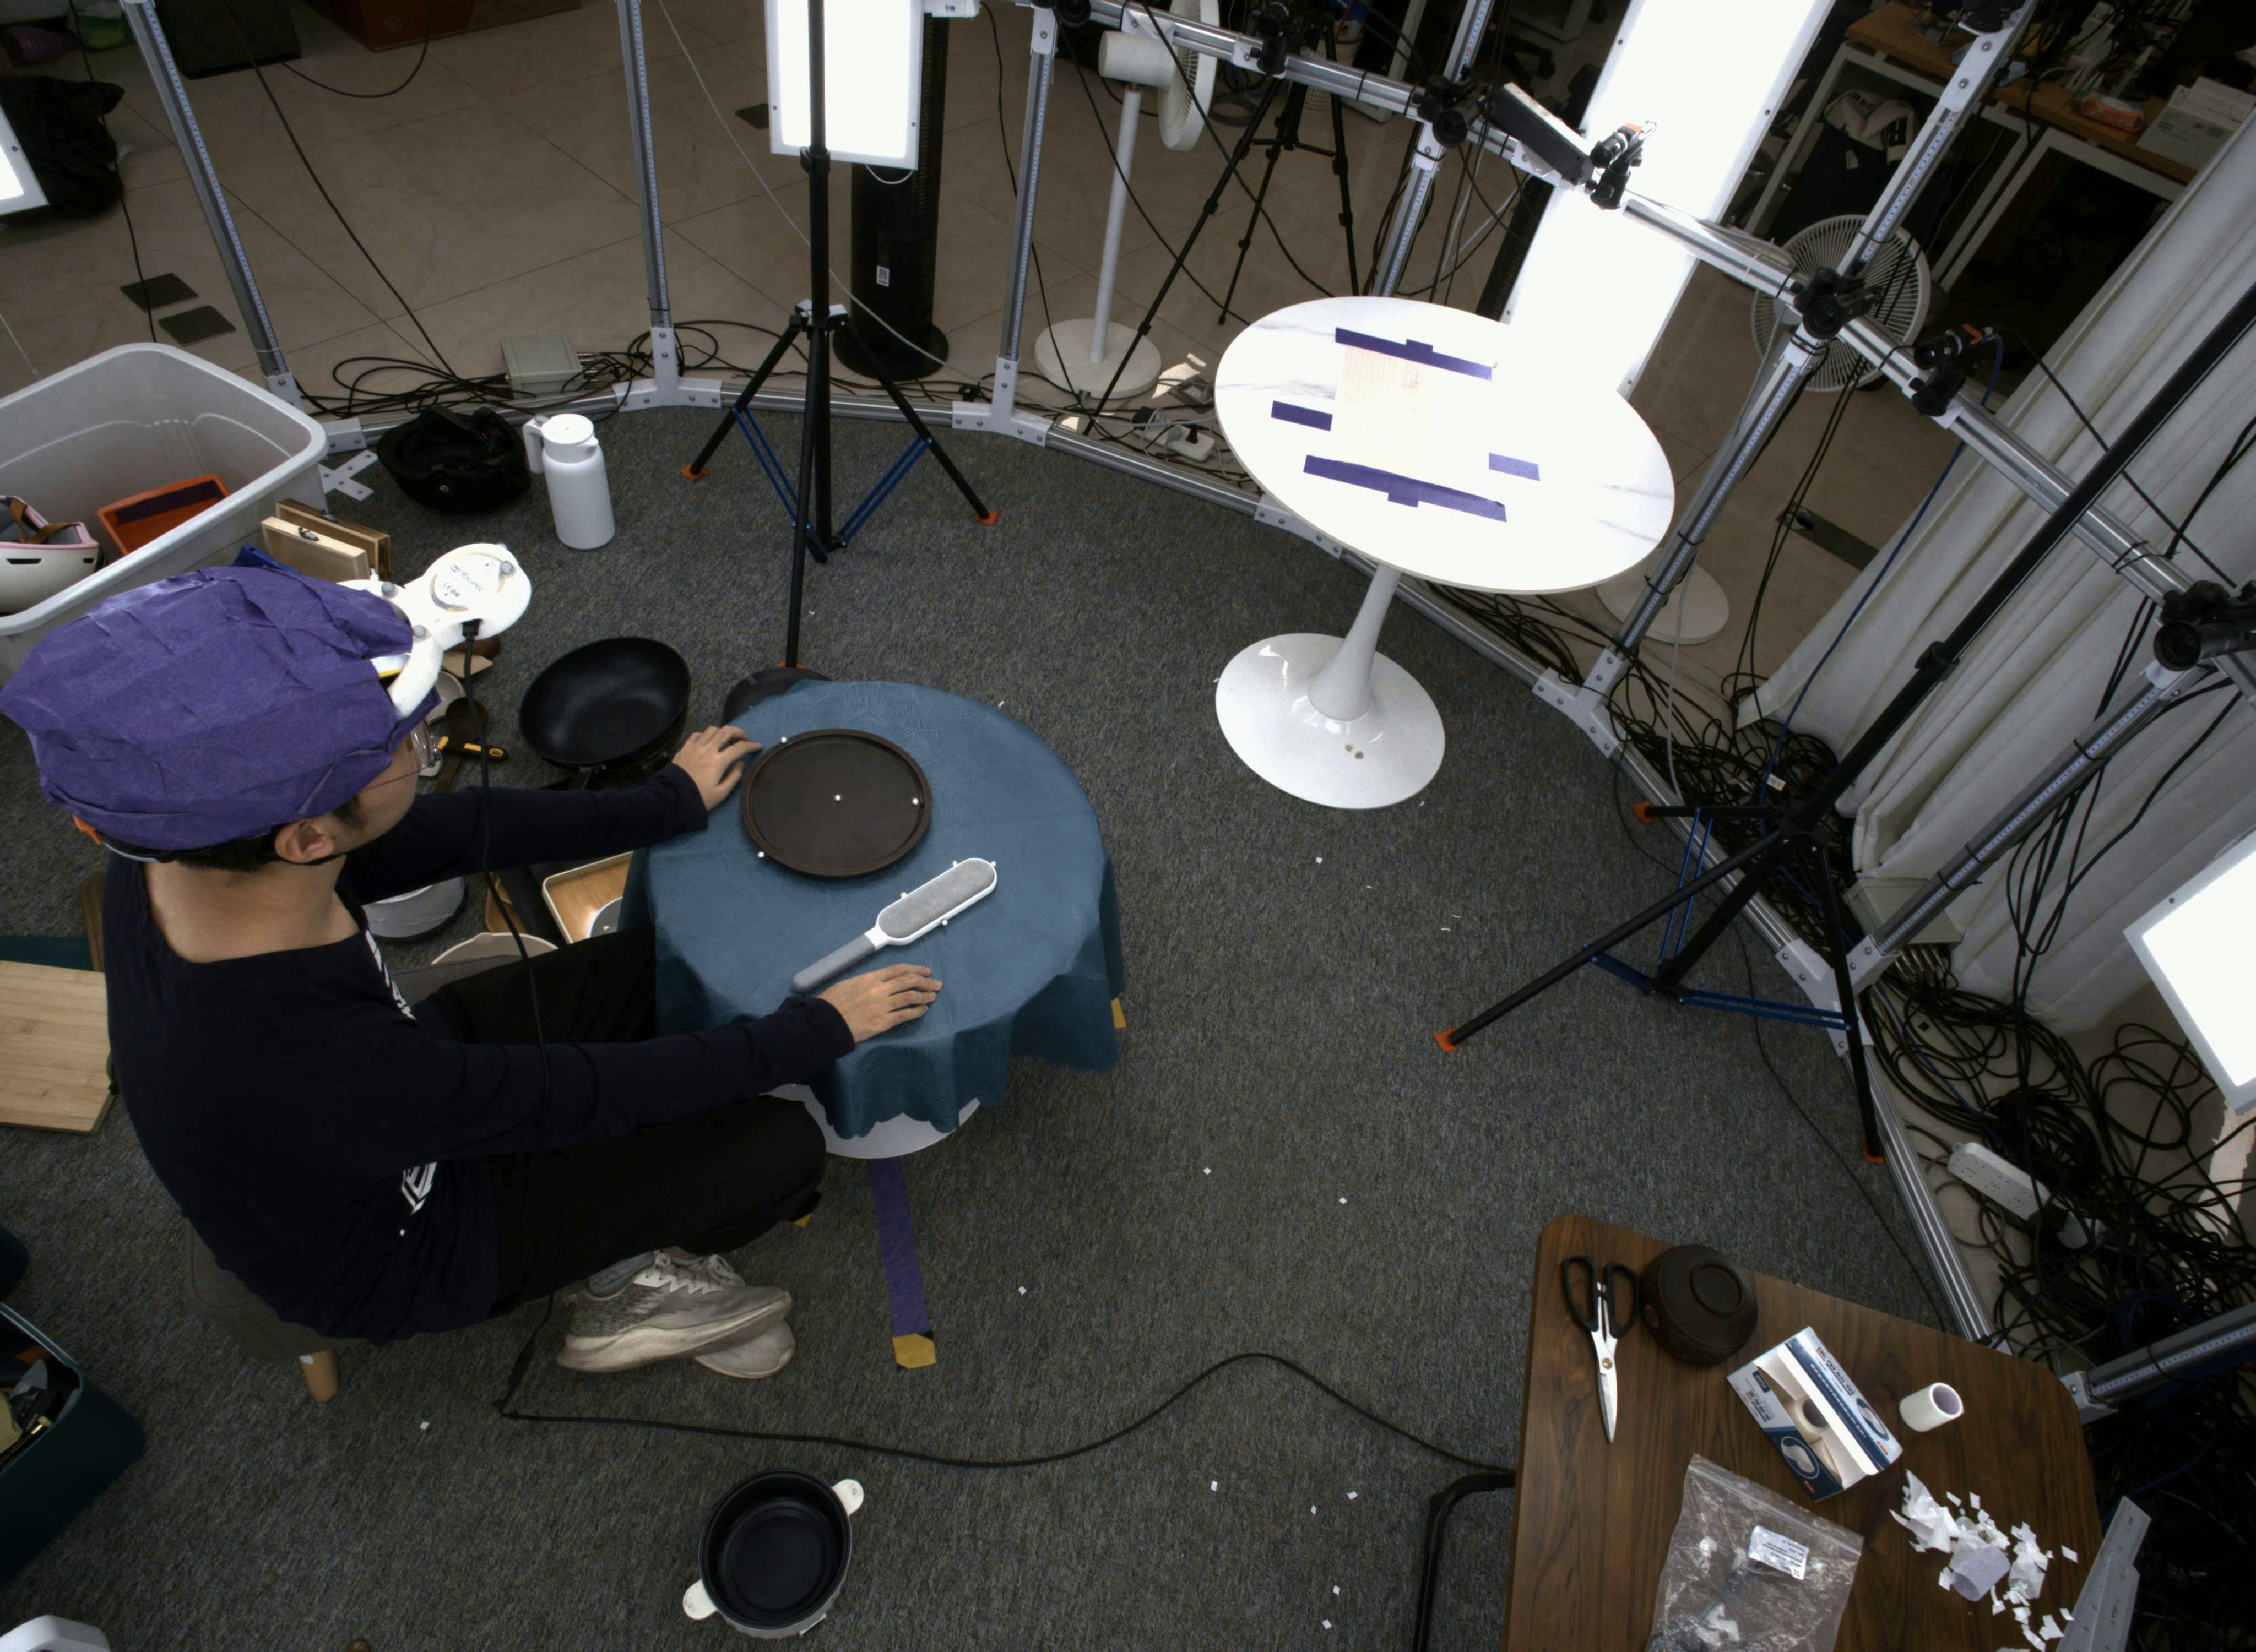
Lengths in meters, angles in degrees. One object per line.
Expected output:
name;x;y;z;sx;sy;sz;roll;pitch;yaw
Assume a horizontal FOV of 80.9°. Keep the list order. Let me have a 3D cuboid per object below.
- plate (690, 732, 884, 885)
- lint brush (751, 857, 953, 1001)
plate;-0.454;-0.025;1.730;0.254;0.029;0.250;8;51;-8
lint brush;-0.346;0.126;1.644;0.309;0.021;0.059;-35;74;-32
